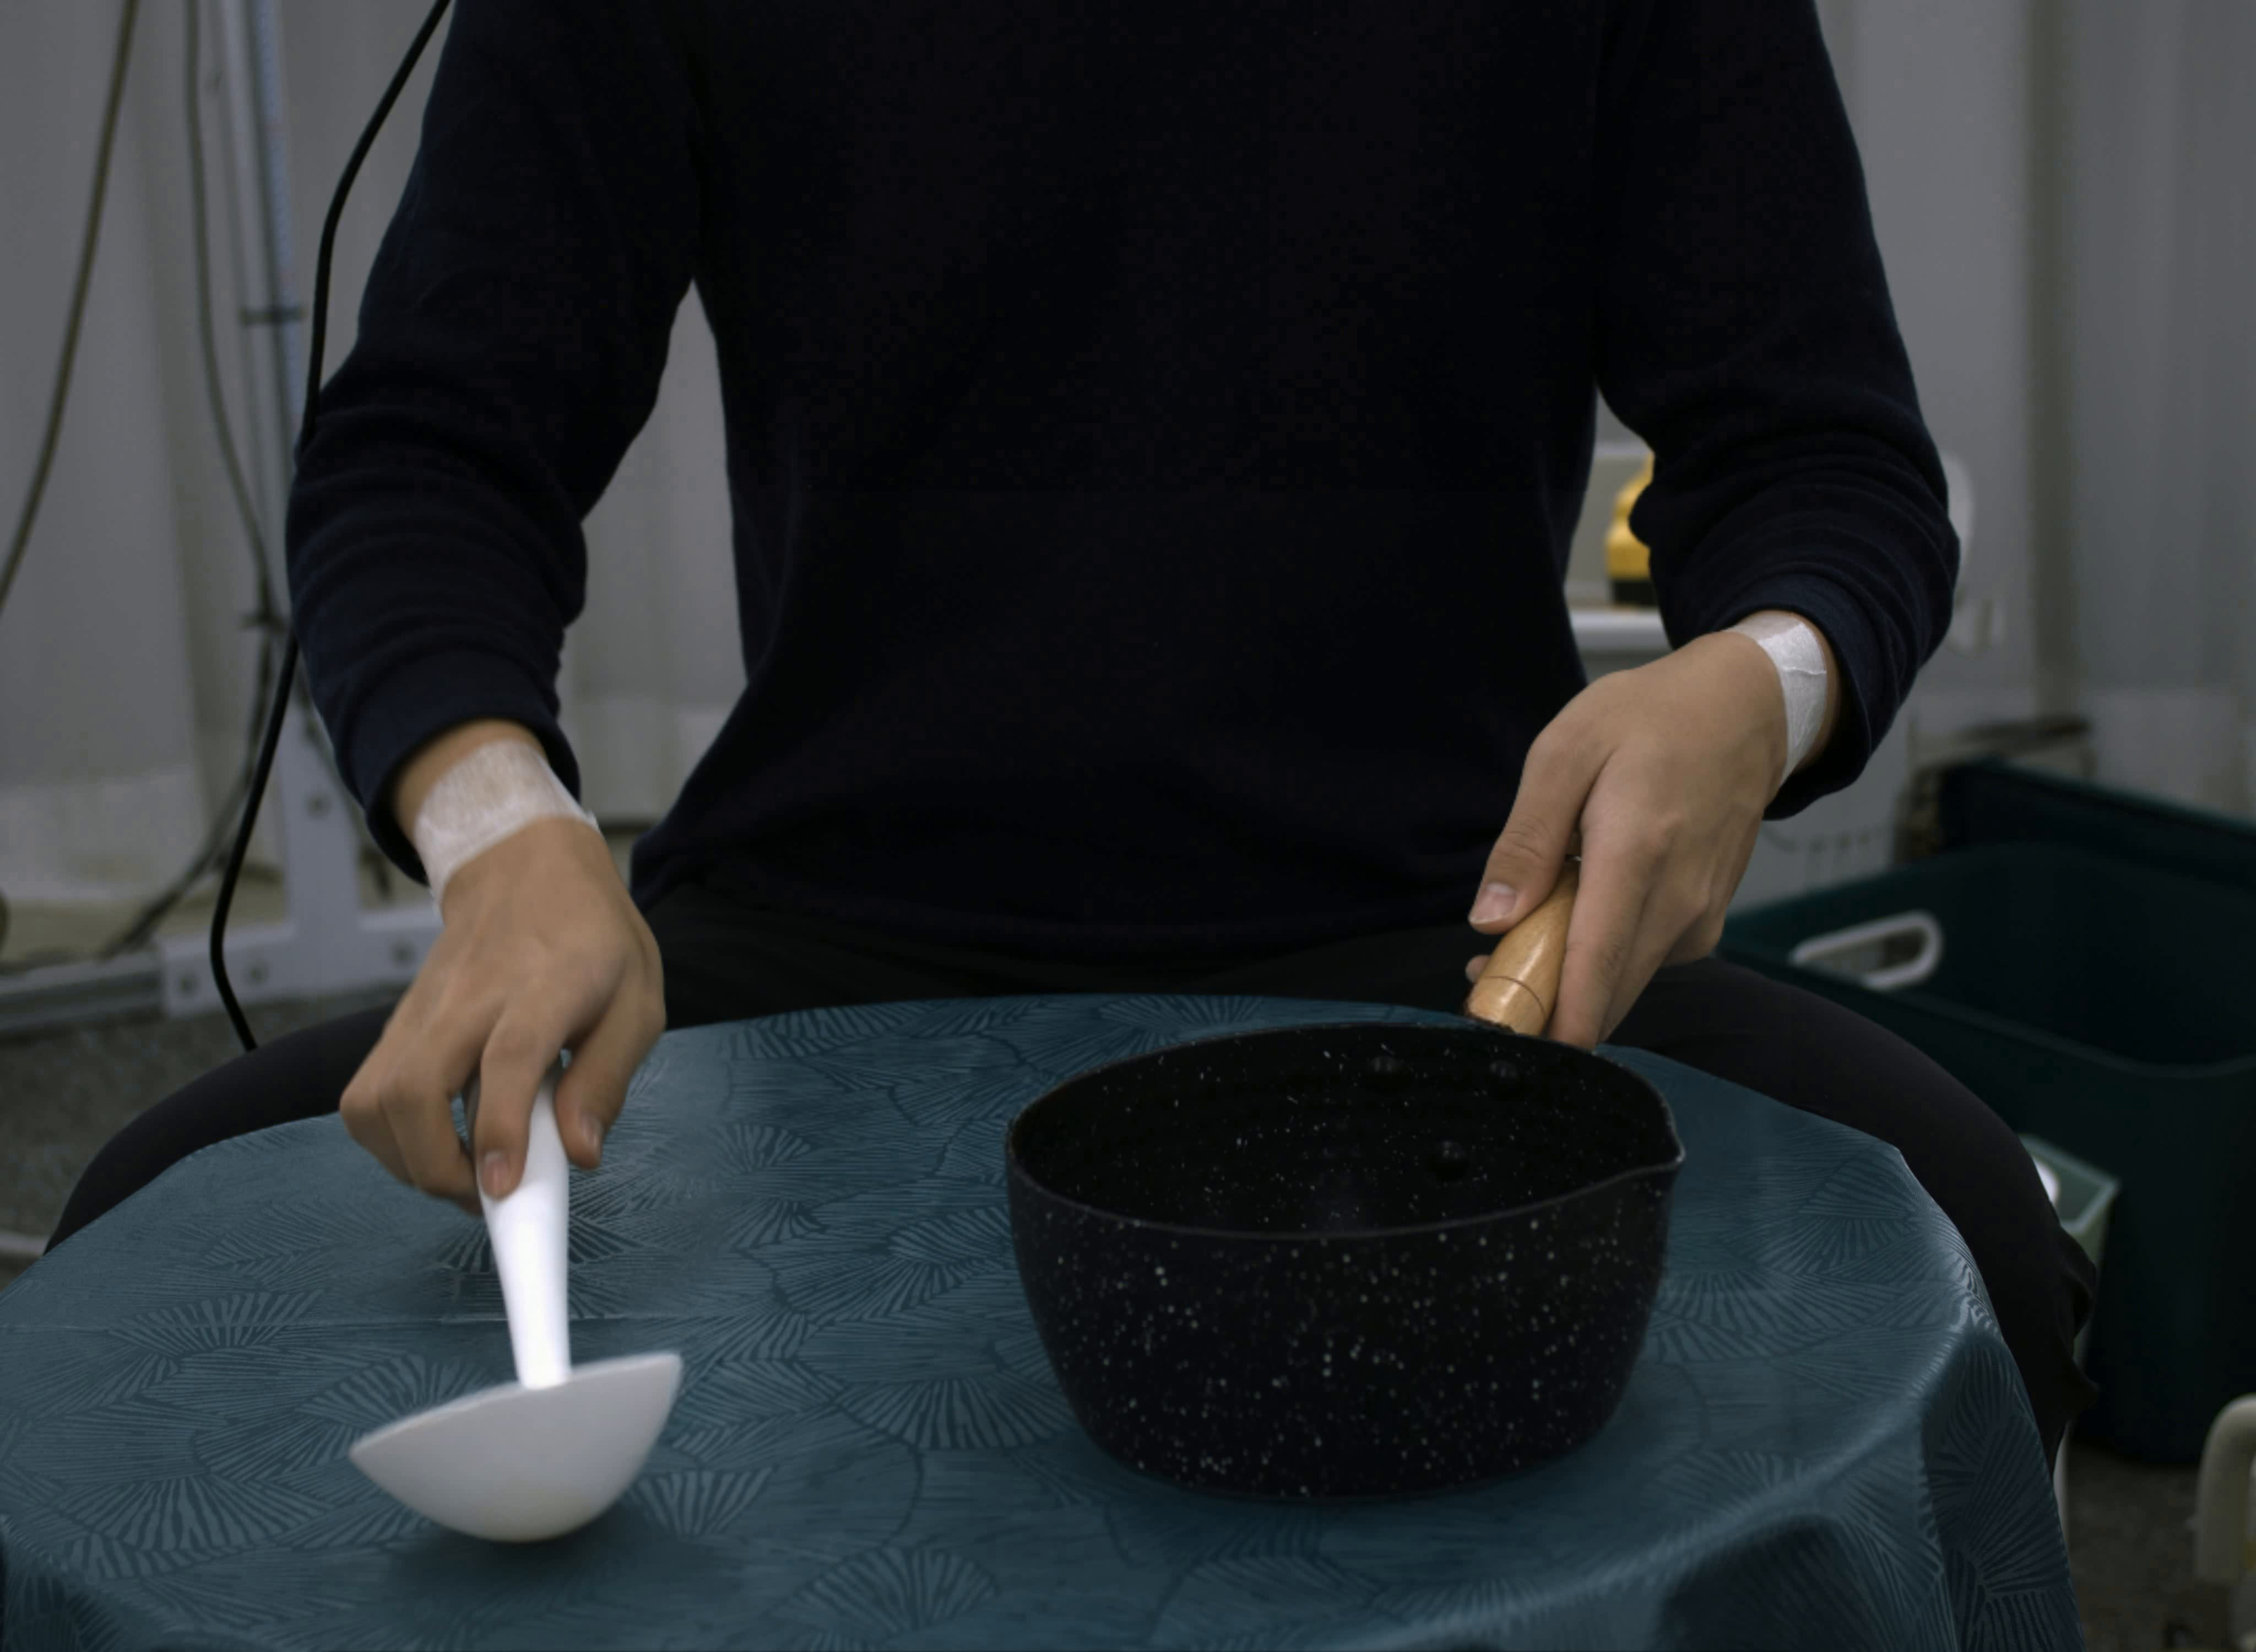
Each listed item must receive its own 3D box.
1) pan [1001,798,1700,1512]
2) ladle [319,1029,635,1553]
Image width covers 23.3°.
[{"bbox_3d":[0.088,0.090,1.583,0.207,0.108,0.344,2,17,22],"label":"pan"},{"bbox_3d":[-0.182,0.119,1.554,0.090,0.069,0.296,-24,24,3],"label":"ladle"}]
